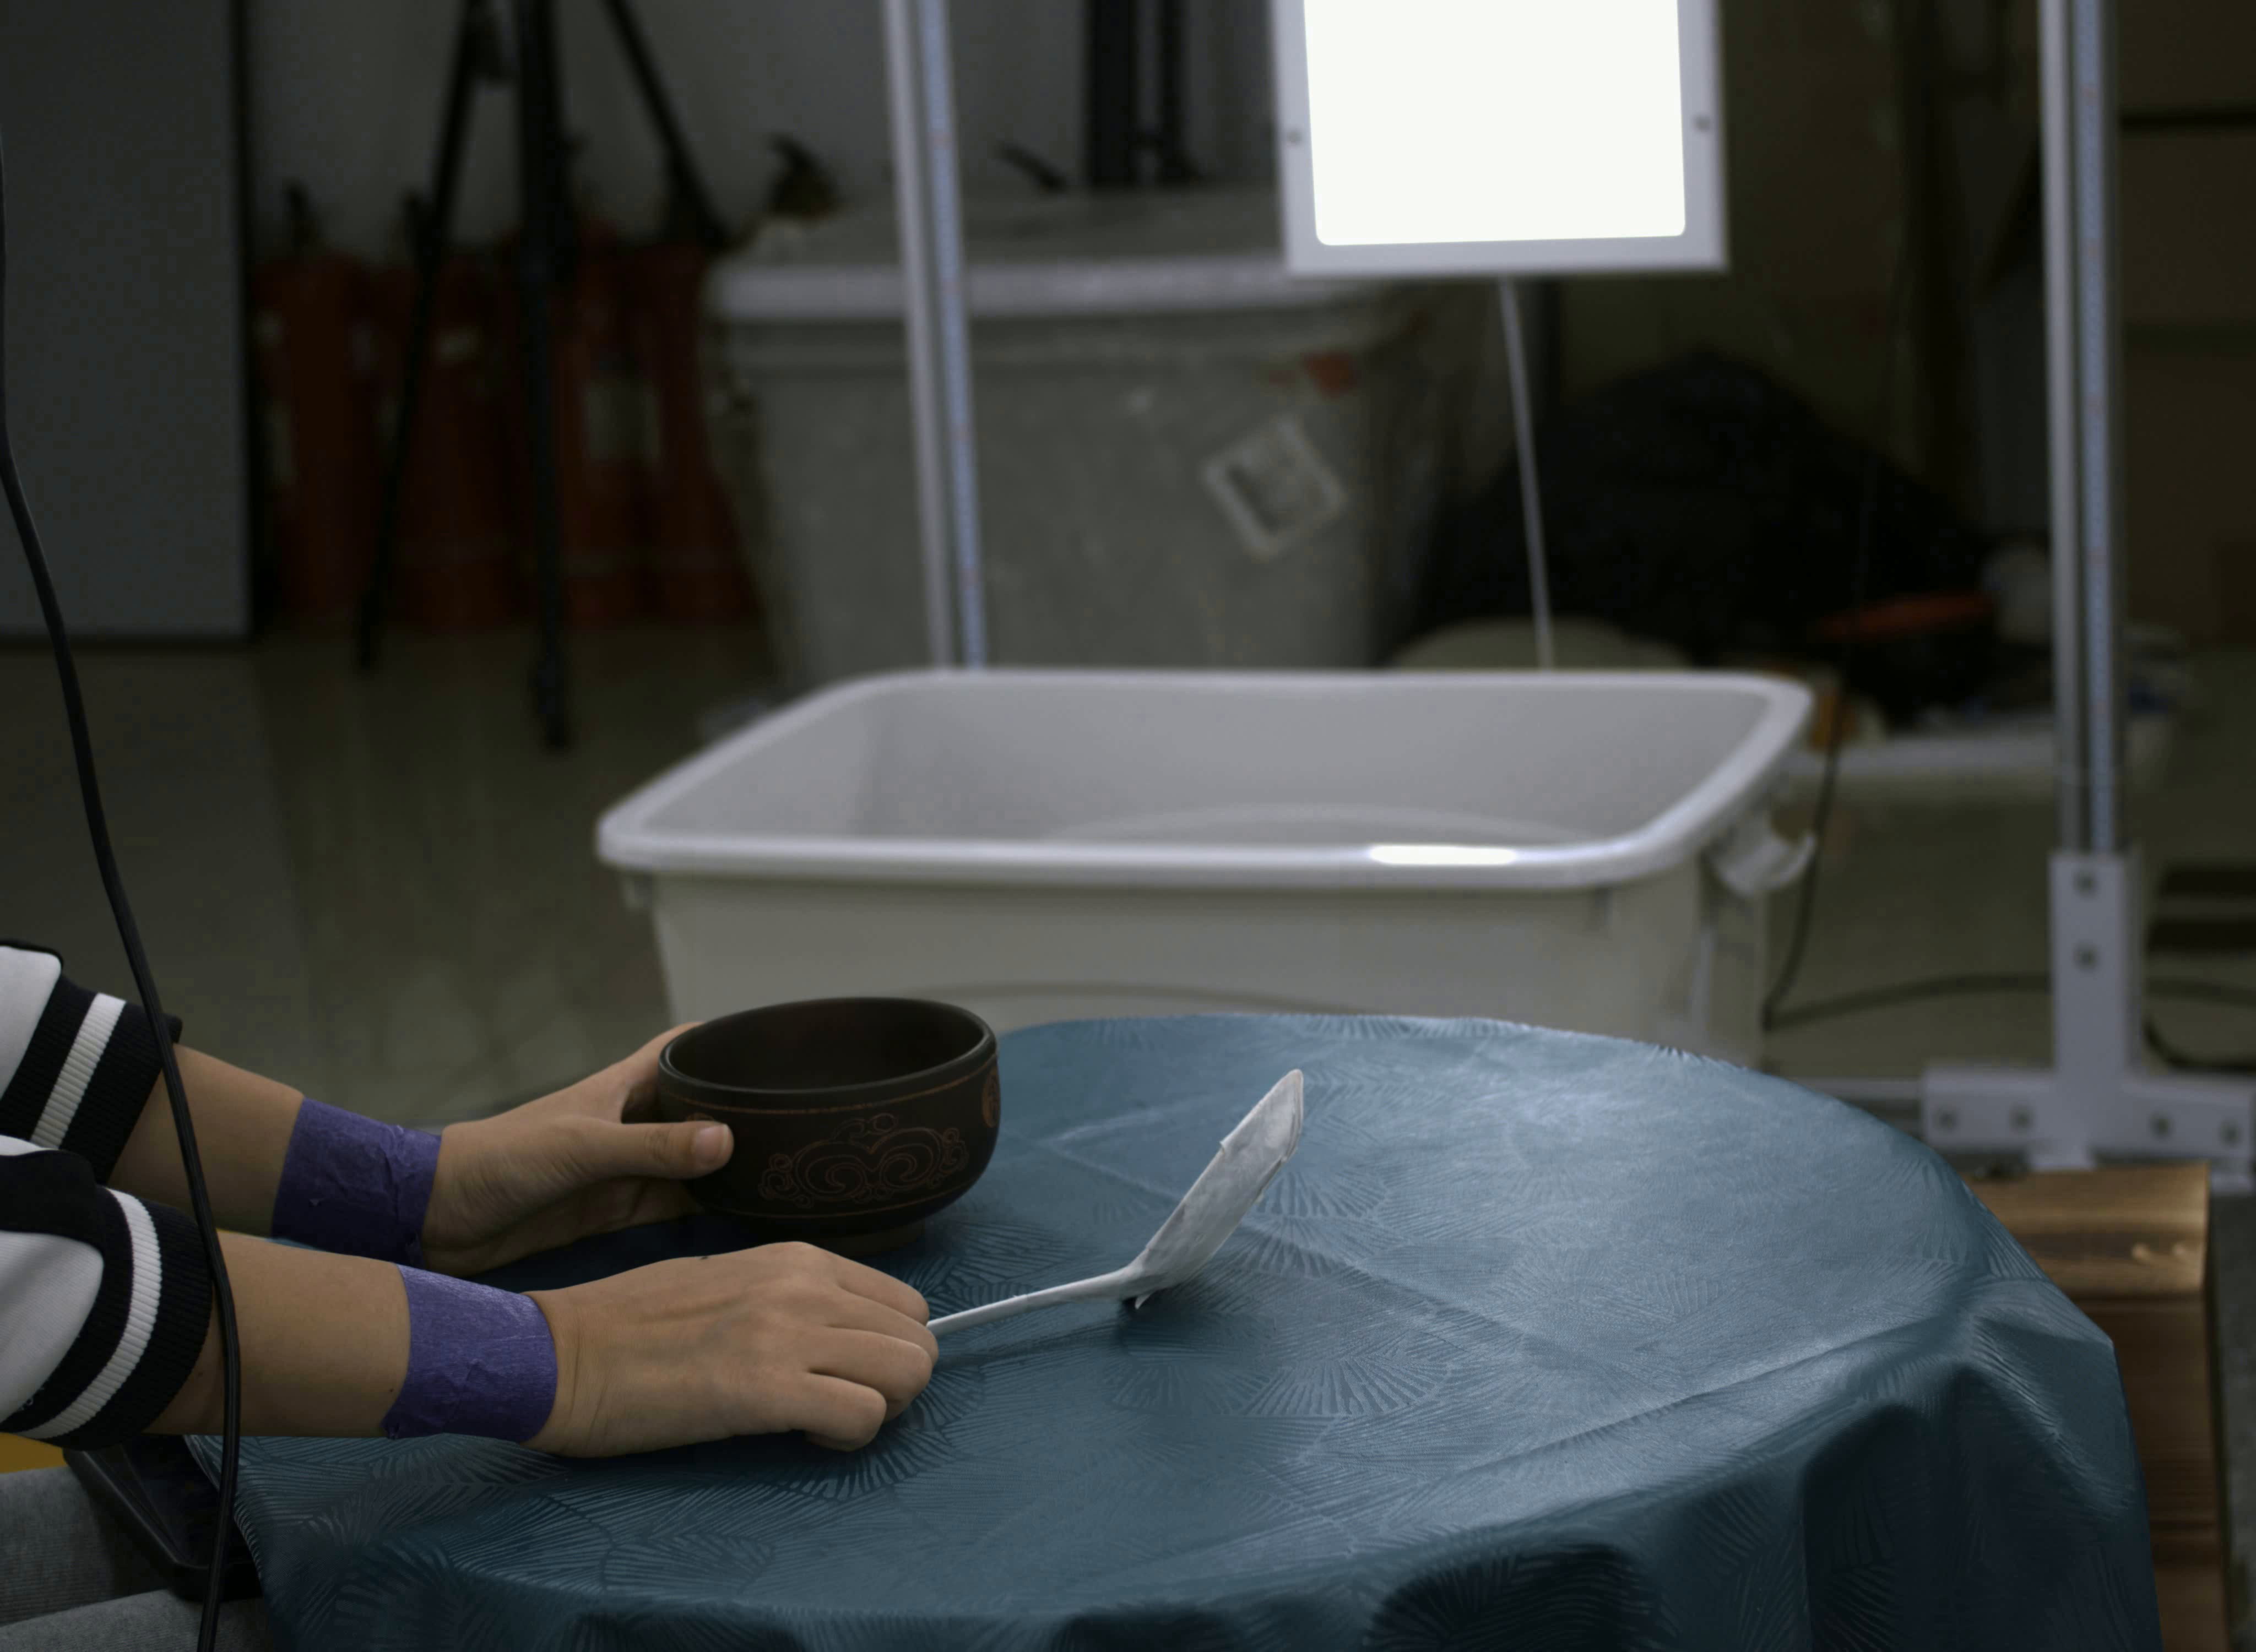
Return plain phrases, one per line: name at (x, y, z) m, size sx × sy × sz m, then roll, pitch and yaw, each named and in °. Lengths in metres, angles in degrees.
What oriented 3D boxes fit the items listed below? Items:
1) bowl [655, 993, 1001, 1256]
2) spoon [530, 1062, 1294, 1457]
bowl at (-0.100, 0.105, 1.871) m, size 0.118 × 0.070 × 0.118 m, roll -5°, pitch 13°, yaw 0°
spoon at (-0.066, 0.140, 1.755) m, size 0.273 × 0.060 × 0.101 m, roll -14°, pitch -27°, yaw -16°
